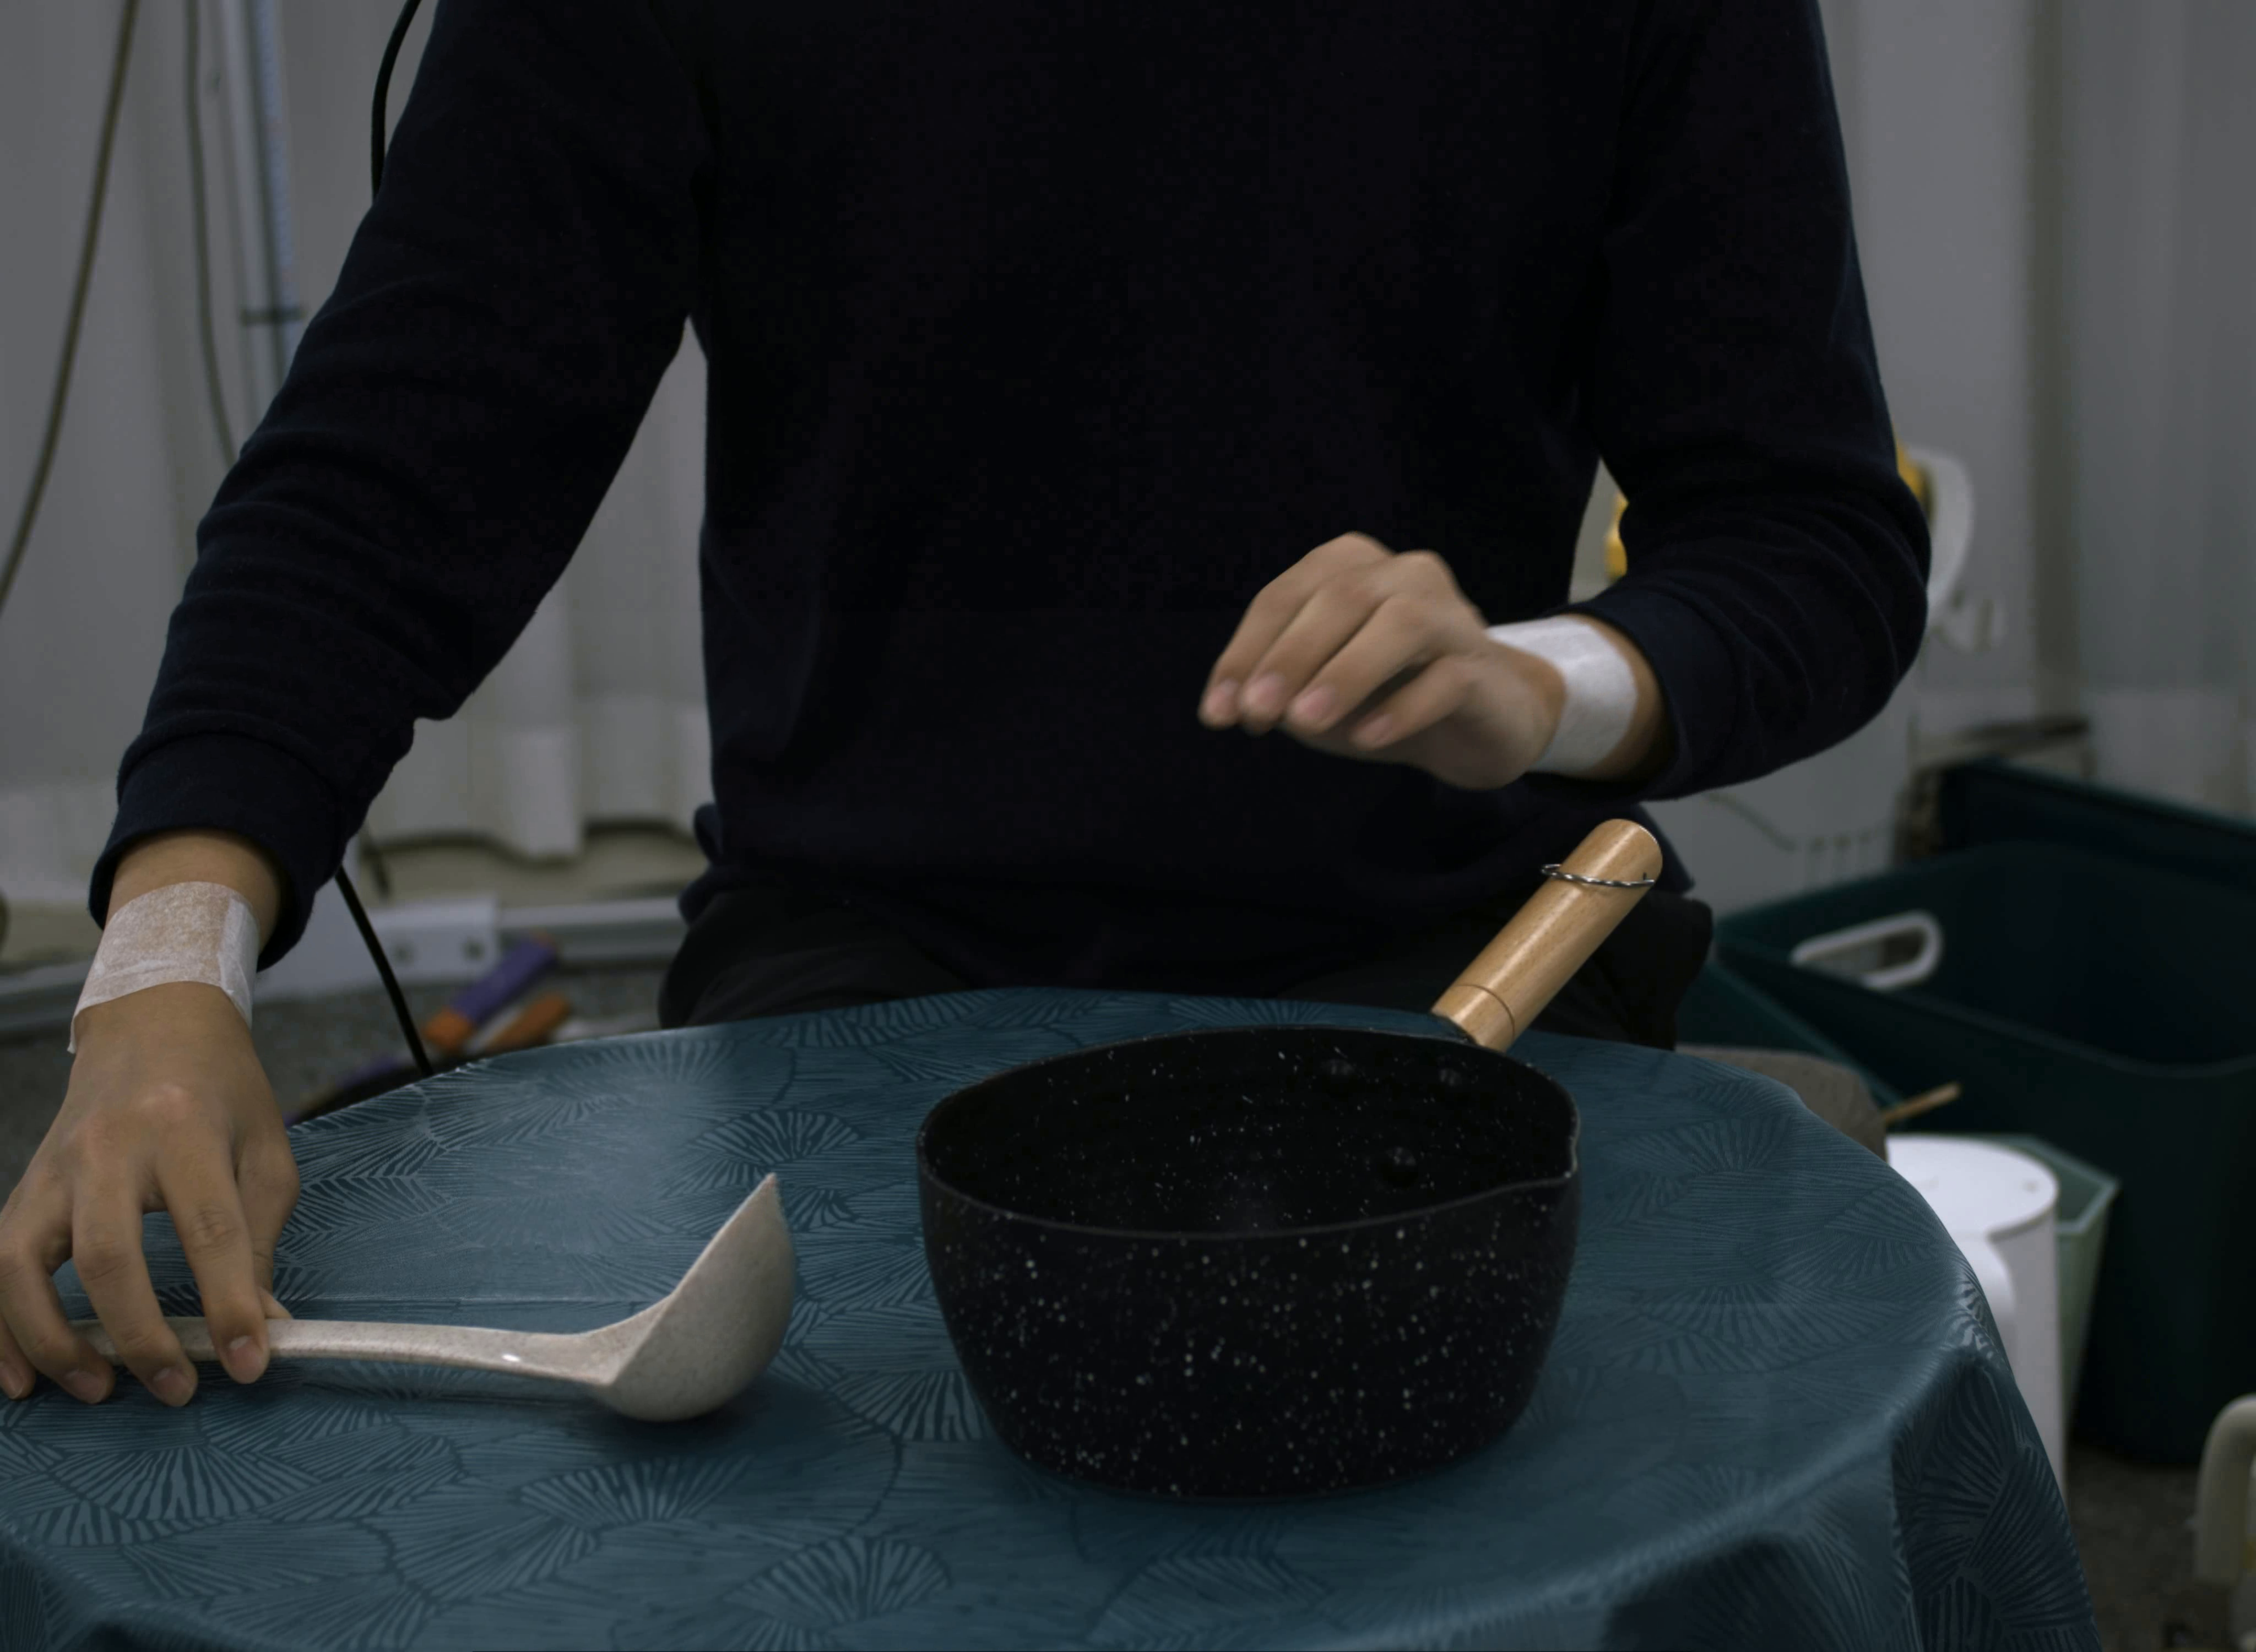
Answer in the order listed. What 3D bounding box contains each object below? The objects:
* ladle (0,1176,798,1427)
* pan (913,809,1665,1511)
[{"bbox_3d":[-0.226,0.131,1.572,0.275,0.069,0.090,1,24,17],"label":"ladle"},{"bbox_3d":[0.073,0.091,1.582,0.208,0.108,0.343,4,18,29],"label":"pan"}]
